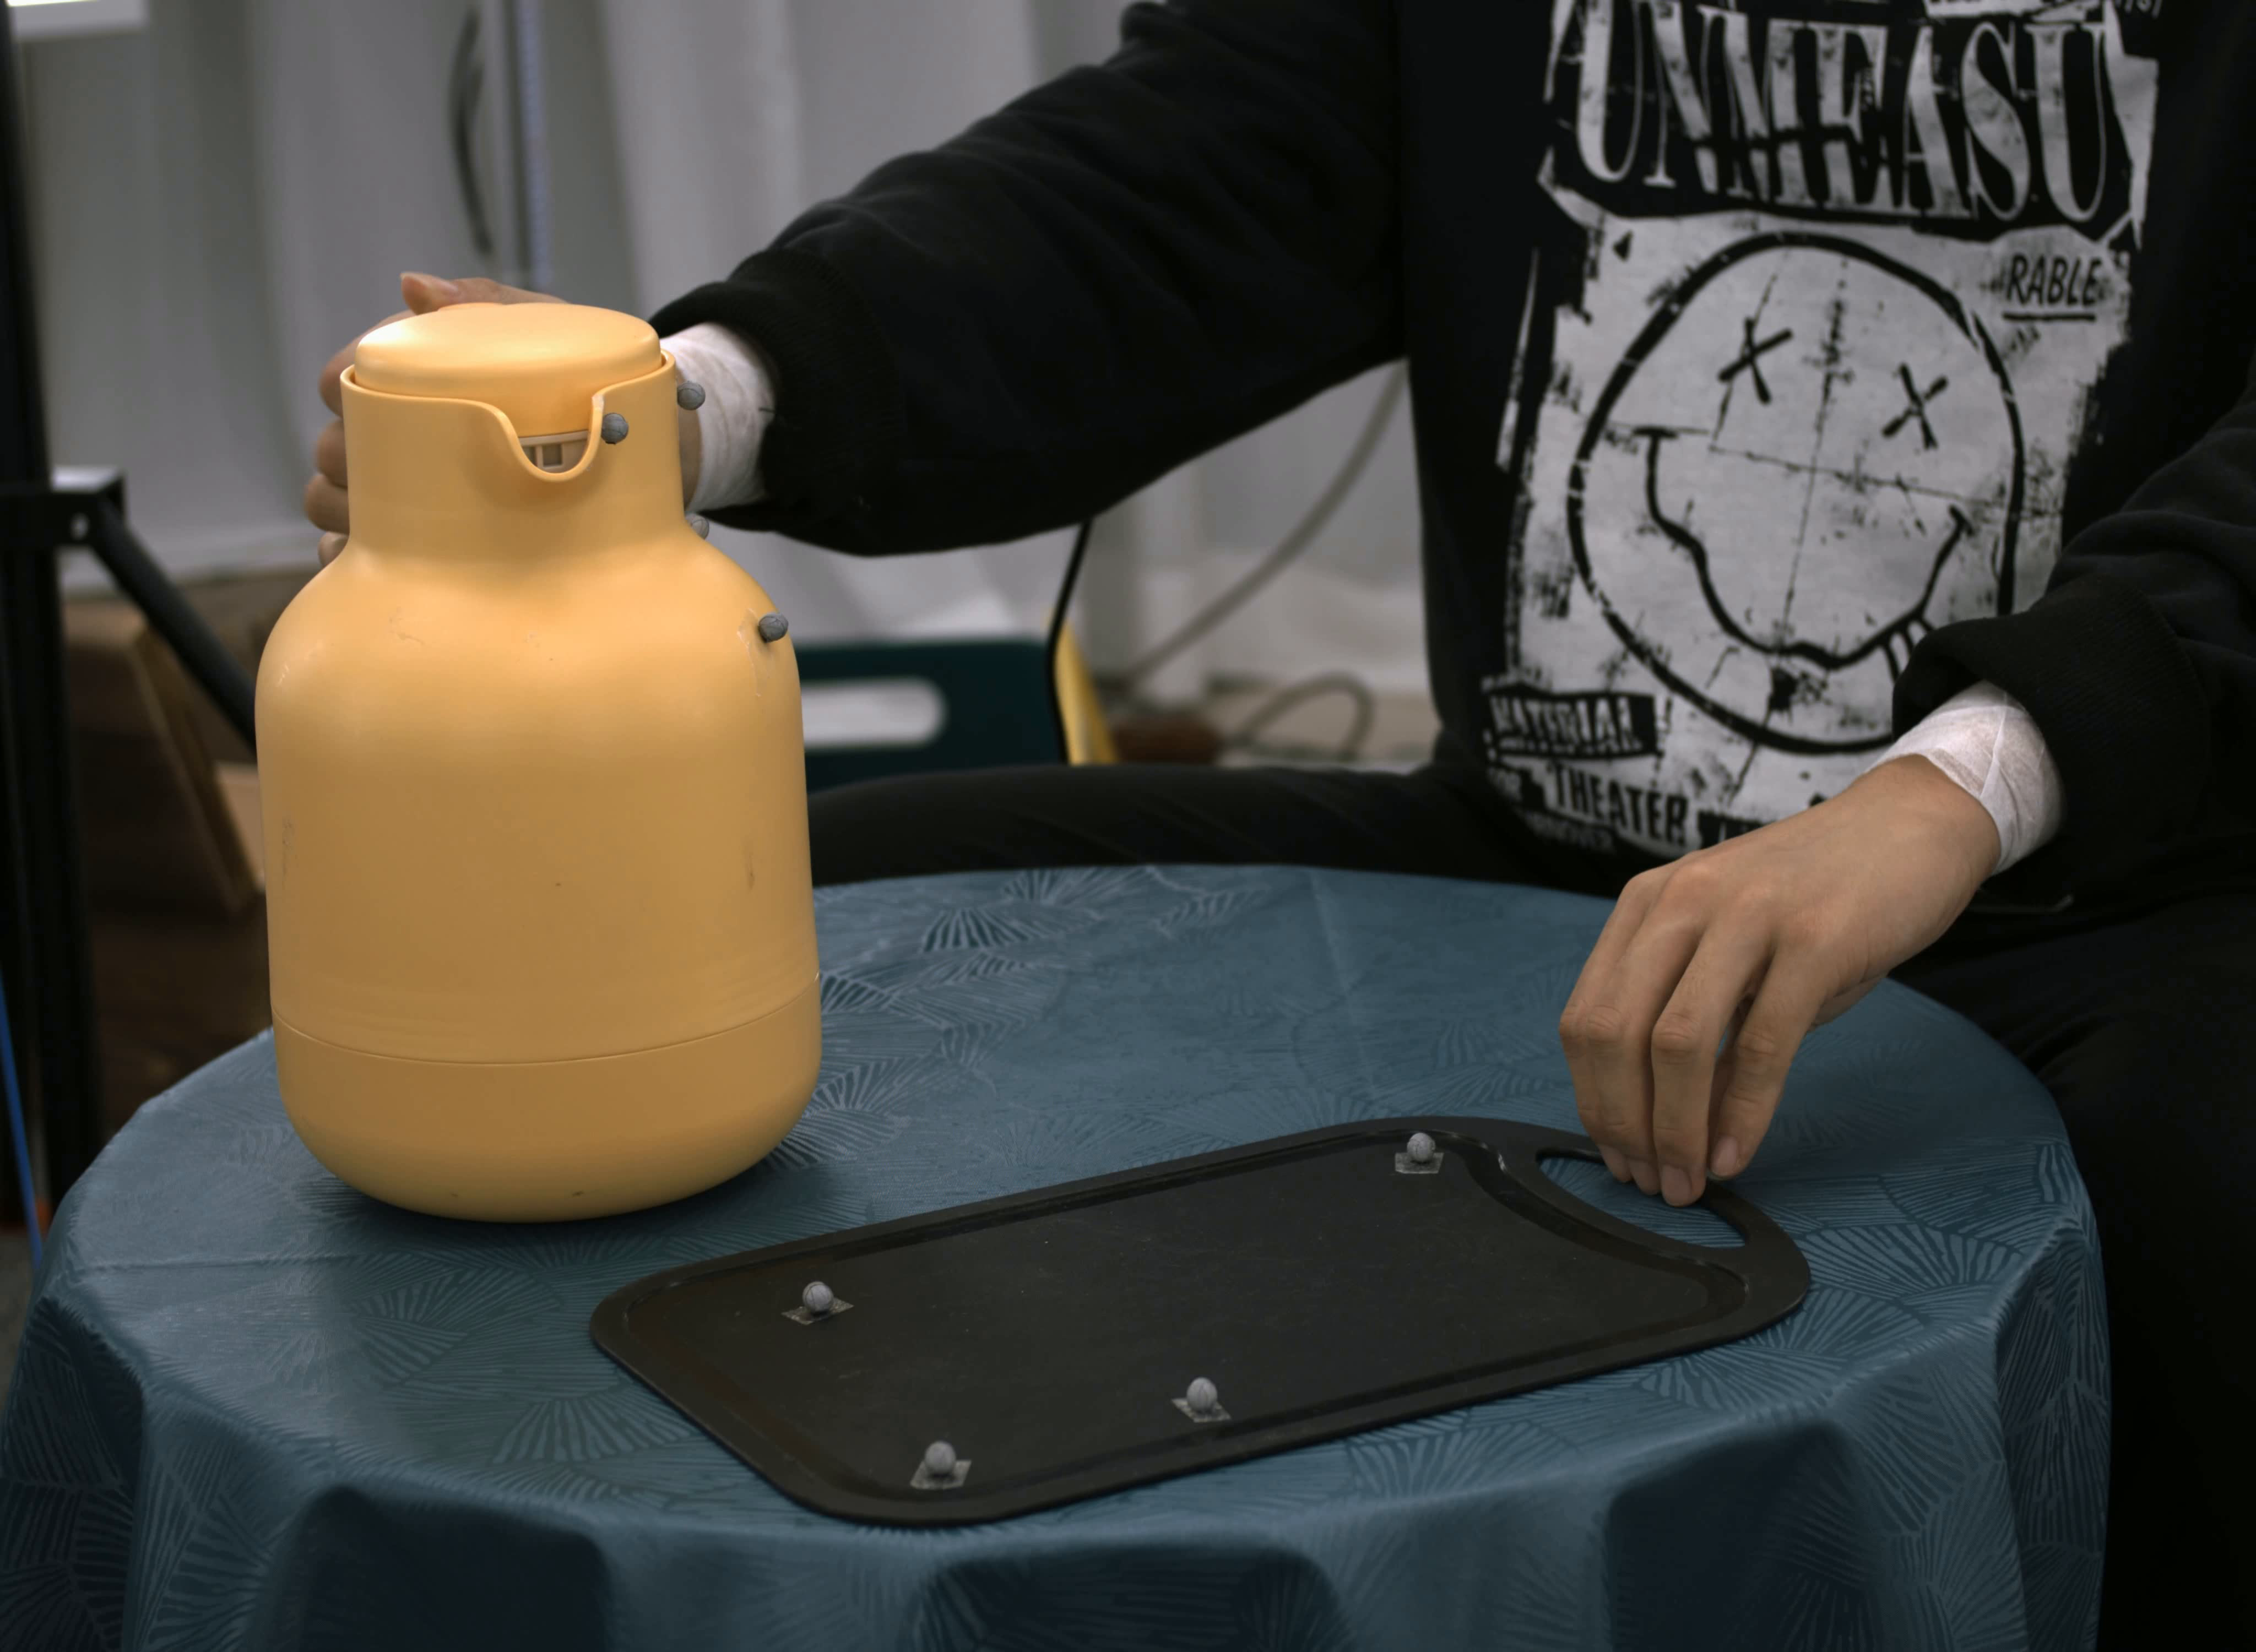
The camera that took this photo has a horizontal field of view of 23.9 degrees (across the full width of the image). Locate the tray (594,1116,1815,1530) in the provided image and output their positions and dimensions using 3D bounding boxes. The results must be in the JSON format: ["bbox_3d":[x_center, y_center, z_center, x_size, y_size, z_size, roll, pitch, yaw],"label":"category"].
[{"bbox_3d":[0.027,0.129,1.463,0.319,0.010,0.215,-10,18,-24],"label":"tray"}]

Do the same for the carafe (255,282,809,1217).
[{"bbox_3d":[-0.179,-0.031,1.593,0.161,0.260,0.205,-3,17,-13],"label":"carafe"}]
